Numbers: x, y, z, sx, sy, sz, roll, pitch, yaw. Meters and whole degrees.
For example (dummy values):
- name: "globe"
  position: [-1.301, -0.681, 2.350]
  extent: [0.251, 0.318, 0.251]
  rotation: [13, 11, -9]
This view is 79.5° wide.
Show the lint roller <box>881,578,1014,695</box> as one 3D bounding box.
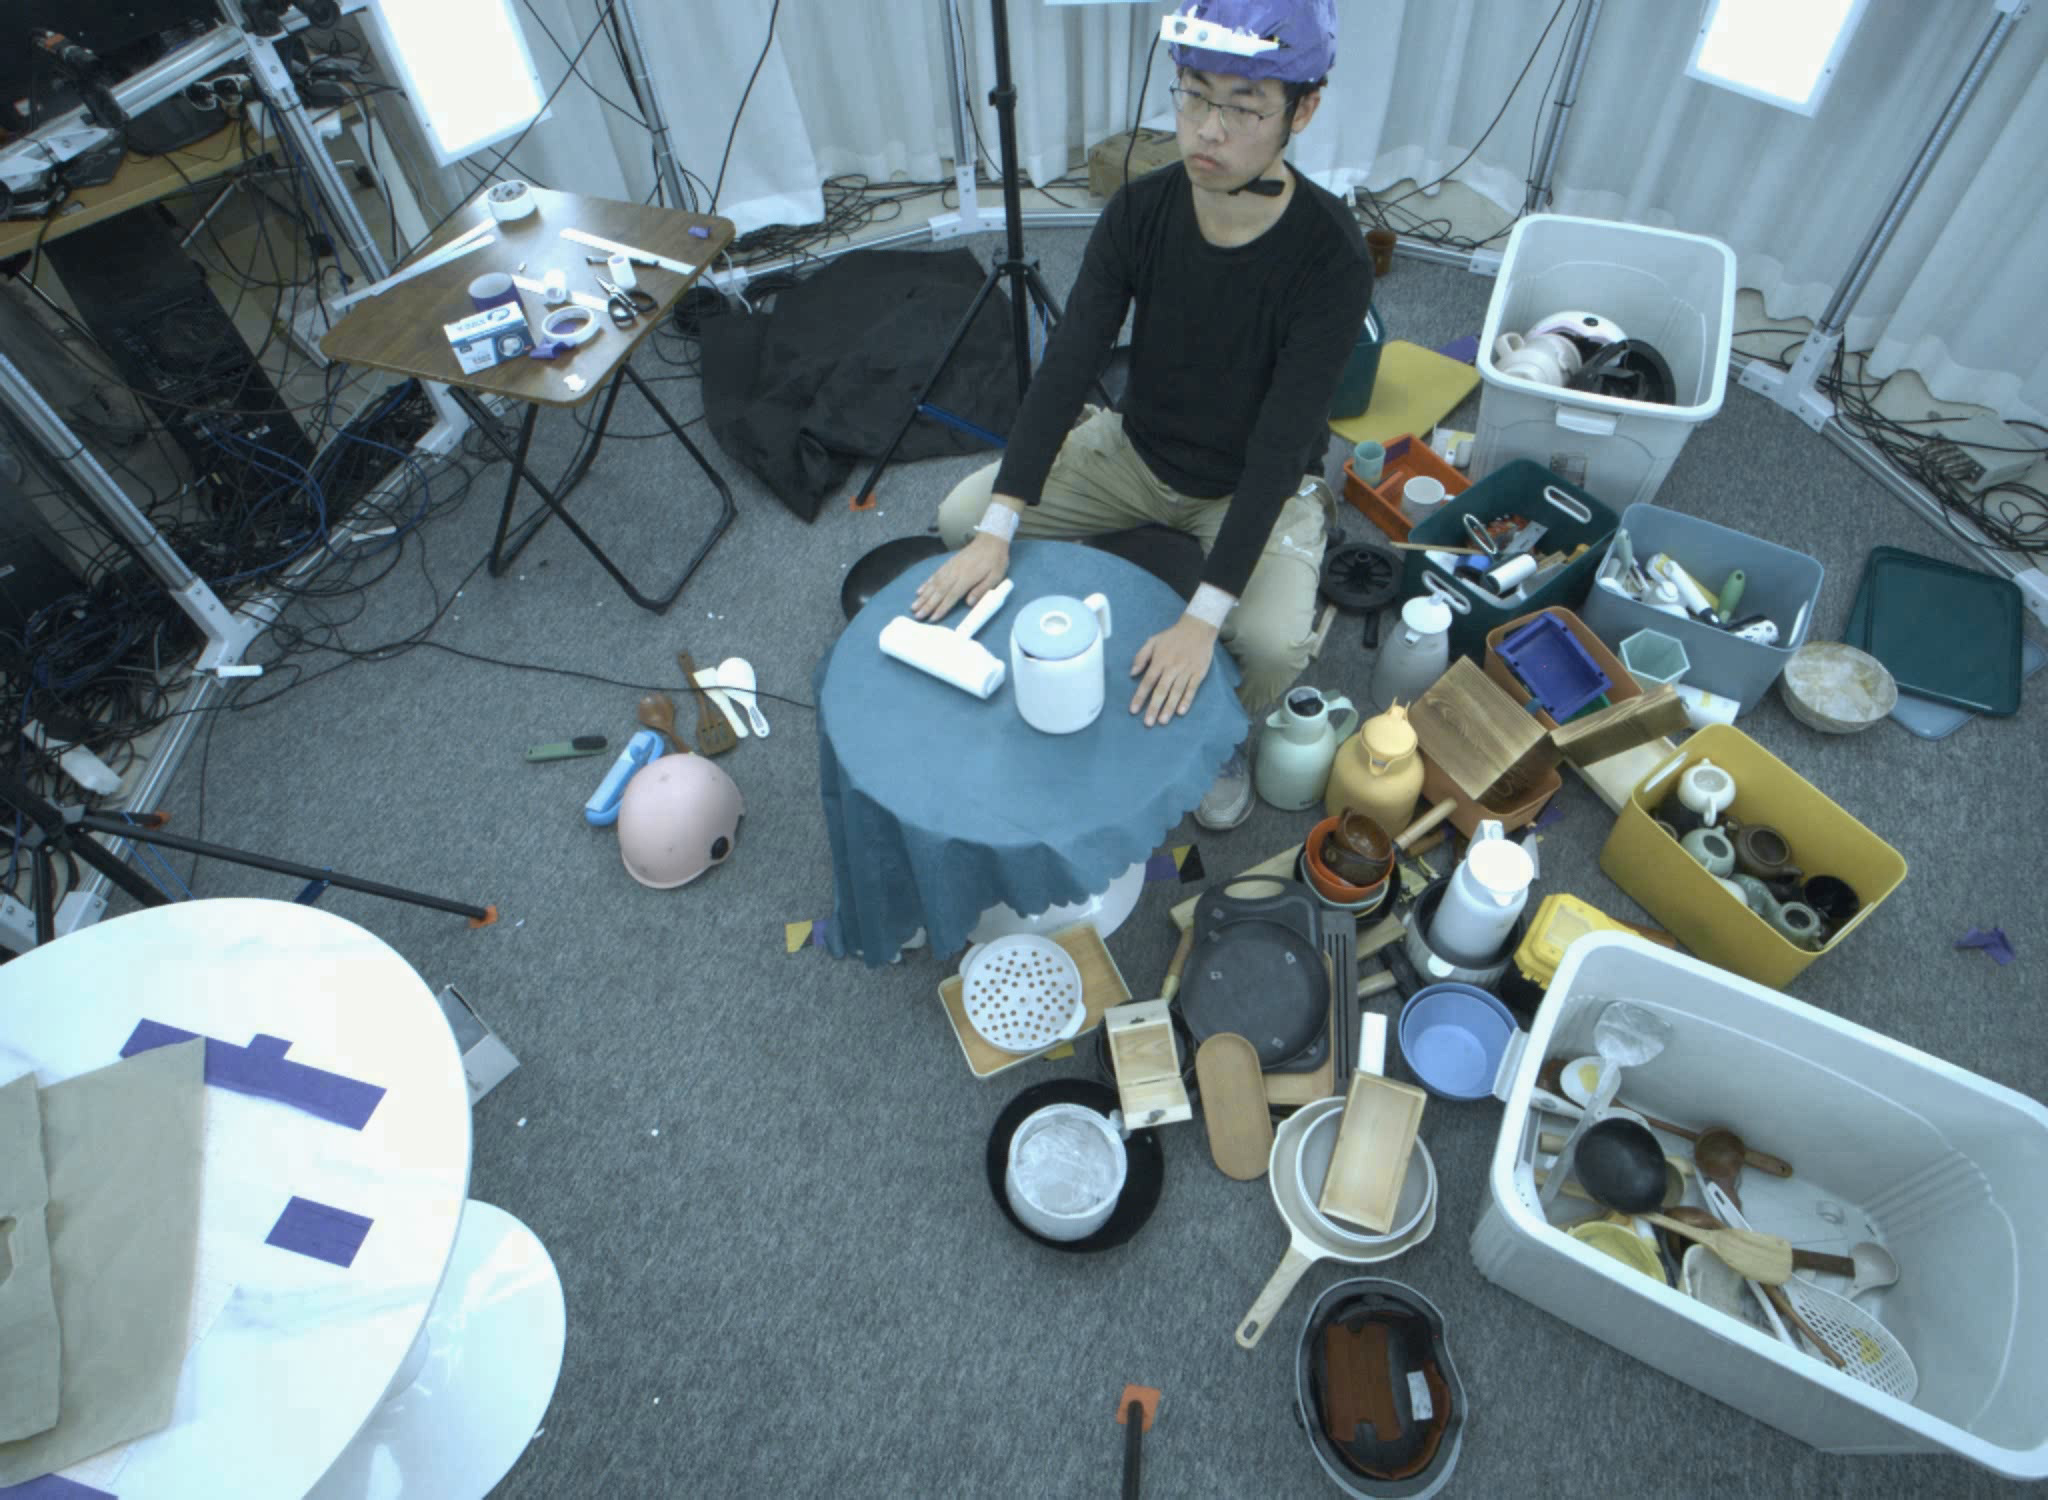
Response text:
- name: "lint roller"
  position: [-0.082, -0.199, 1.905]
  extent: [0.200, 0.049, 0.226]
  rotation: [25, 58, 20]

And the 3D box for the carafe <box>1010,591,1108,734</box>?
- name: "carafe"
  position: [0.063, -0.138, 1.778]
  extent: [0.130, 0.184, 0.192]
  rotation: [30, 60, 22]
